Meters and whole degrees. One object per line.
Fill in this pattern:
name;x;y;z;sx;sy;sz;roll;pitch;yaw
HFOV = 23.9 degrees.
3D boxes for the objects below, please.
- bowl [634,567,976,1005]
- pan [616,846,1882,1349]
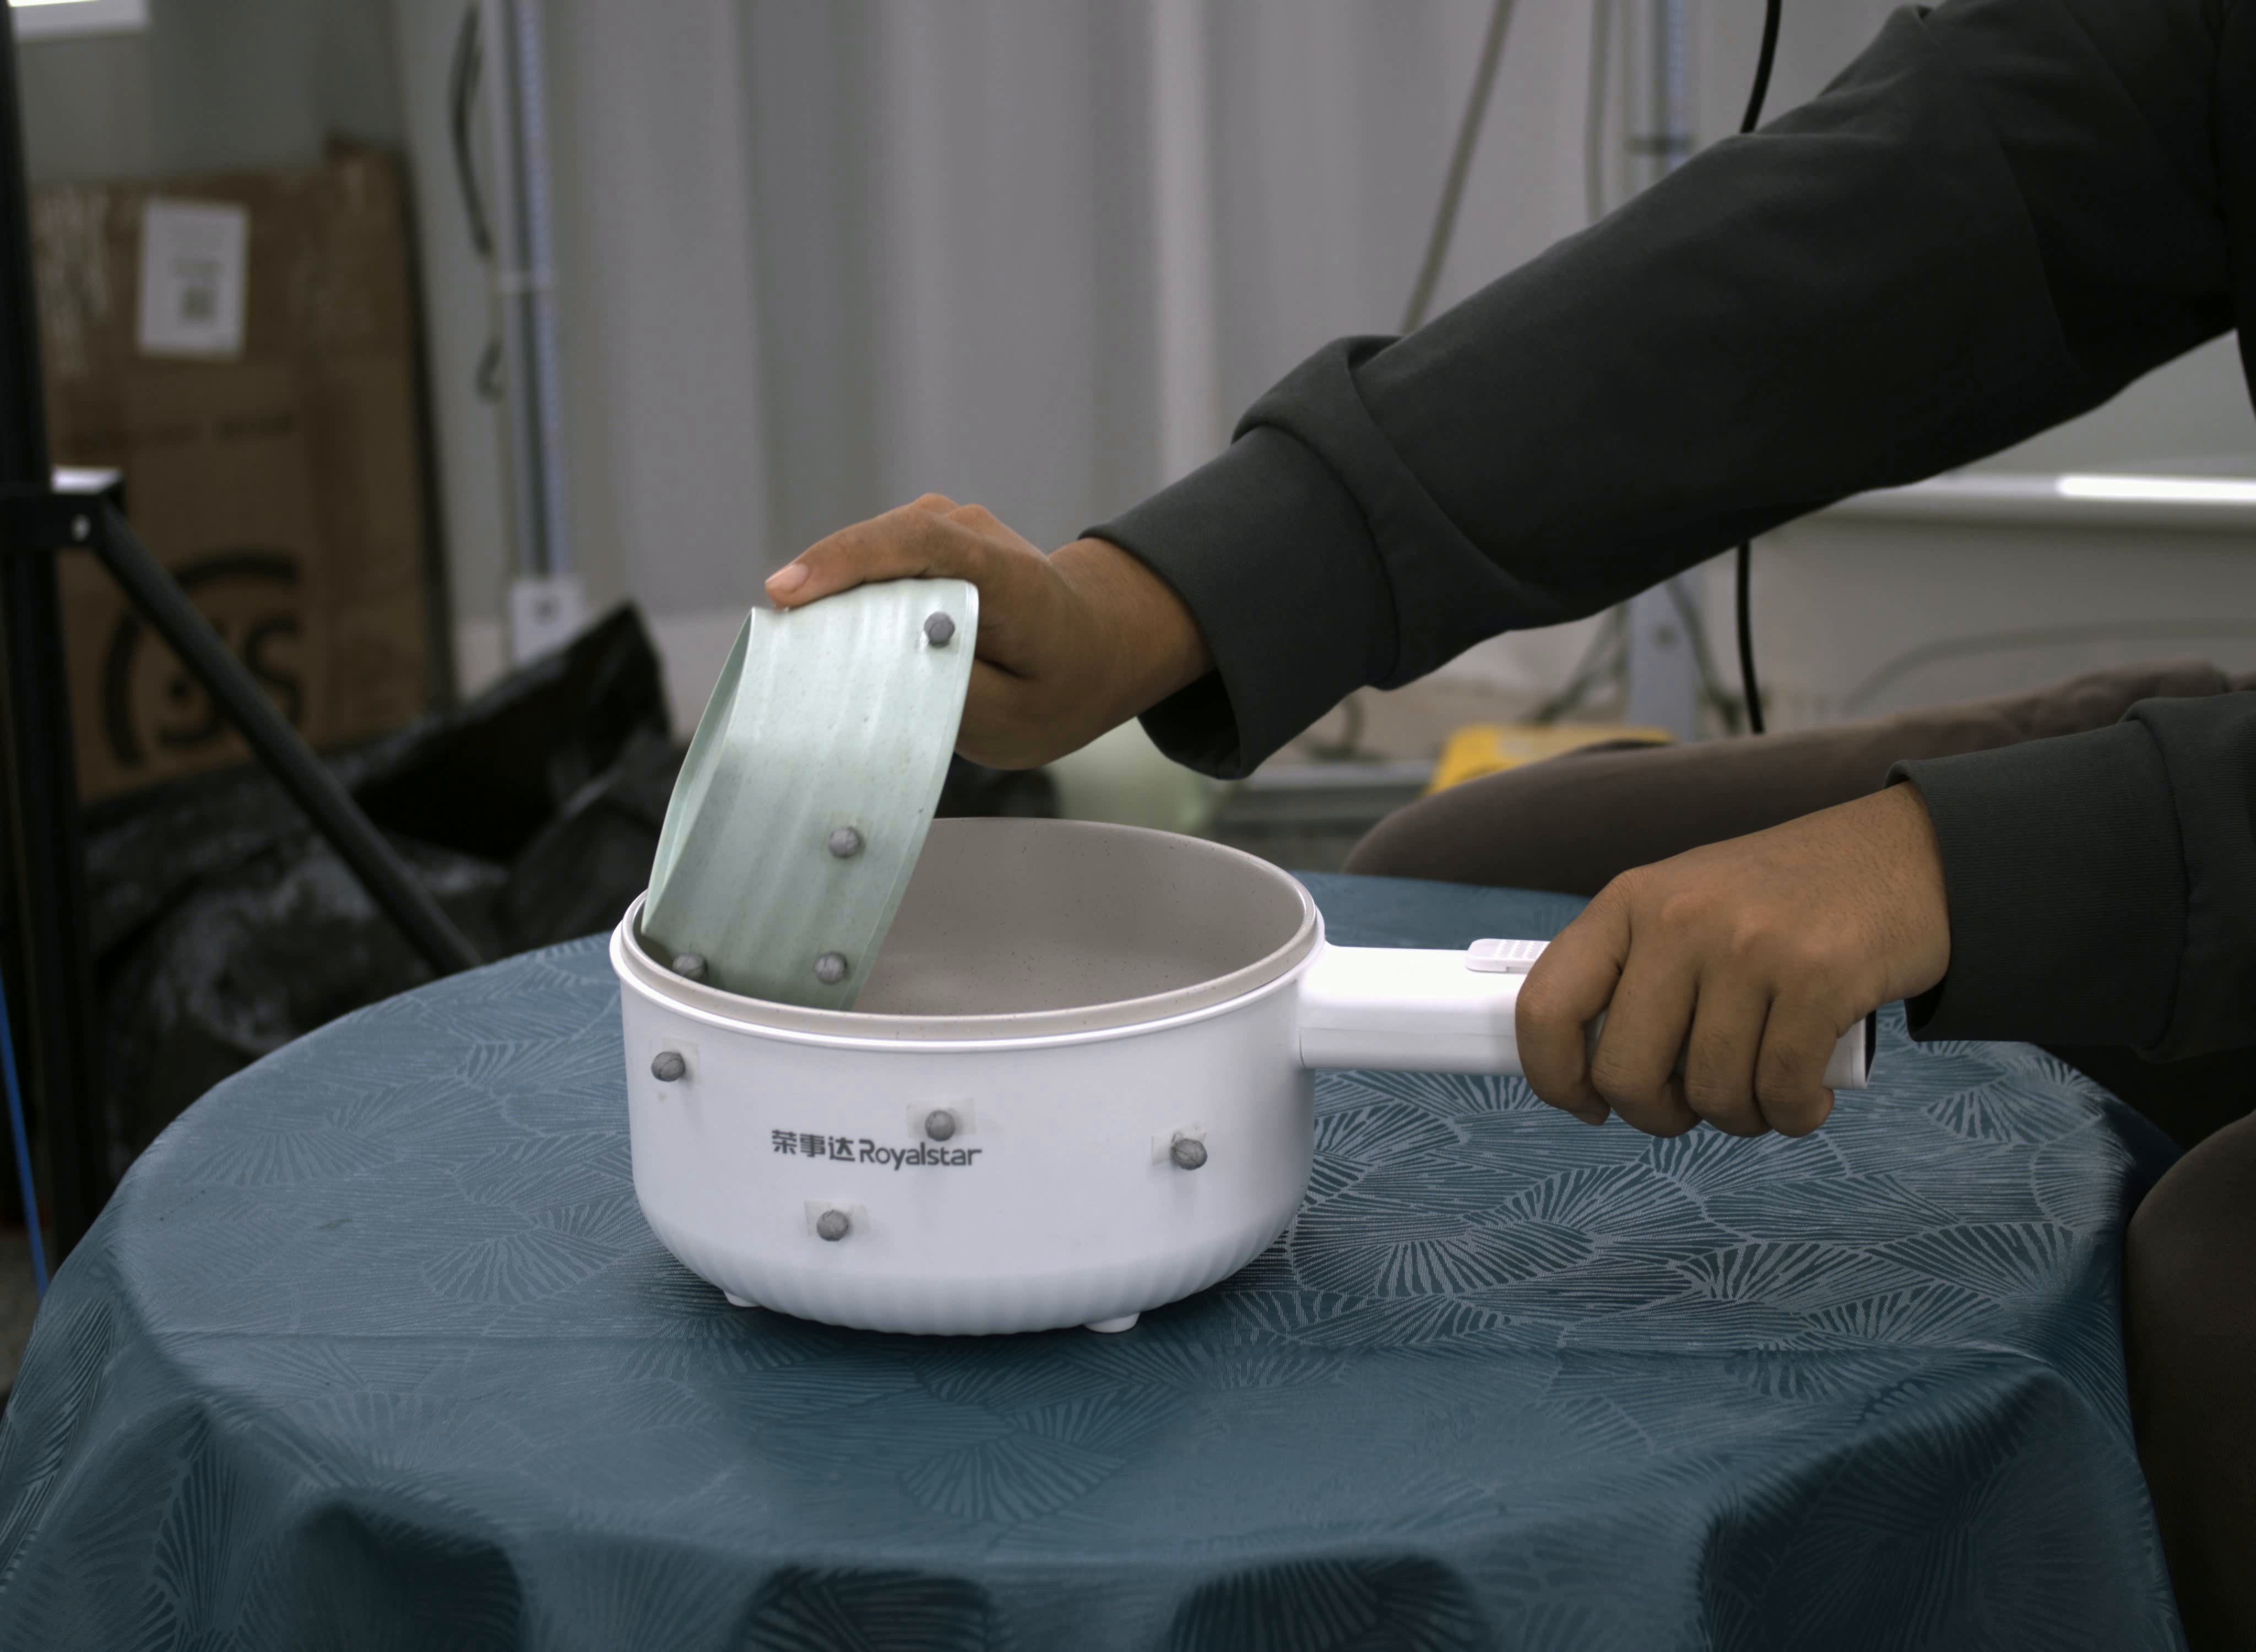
bowl;-0.094;-0.009;1.483;0.058;0.152;0.152;21;14;-8
pan;0.031;0.083;1.484;0.357;0.102;0.199;4;13;14
